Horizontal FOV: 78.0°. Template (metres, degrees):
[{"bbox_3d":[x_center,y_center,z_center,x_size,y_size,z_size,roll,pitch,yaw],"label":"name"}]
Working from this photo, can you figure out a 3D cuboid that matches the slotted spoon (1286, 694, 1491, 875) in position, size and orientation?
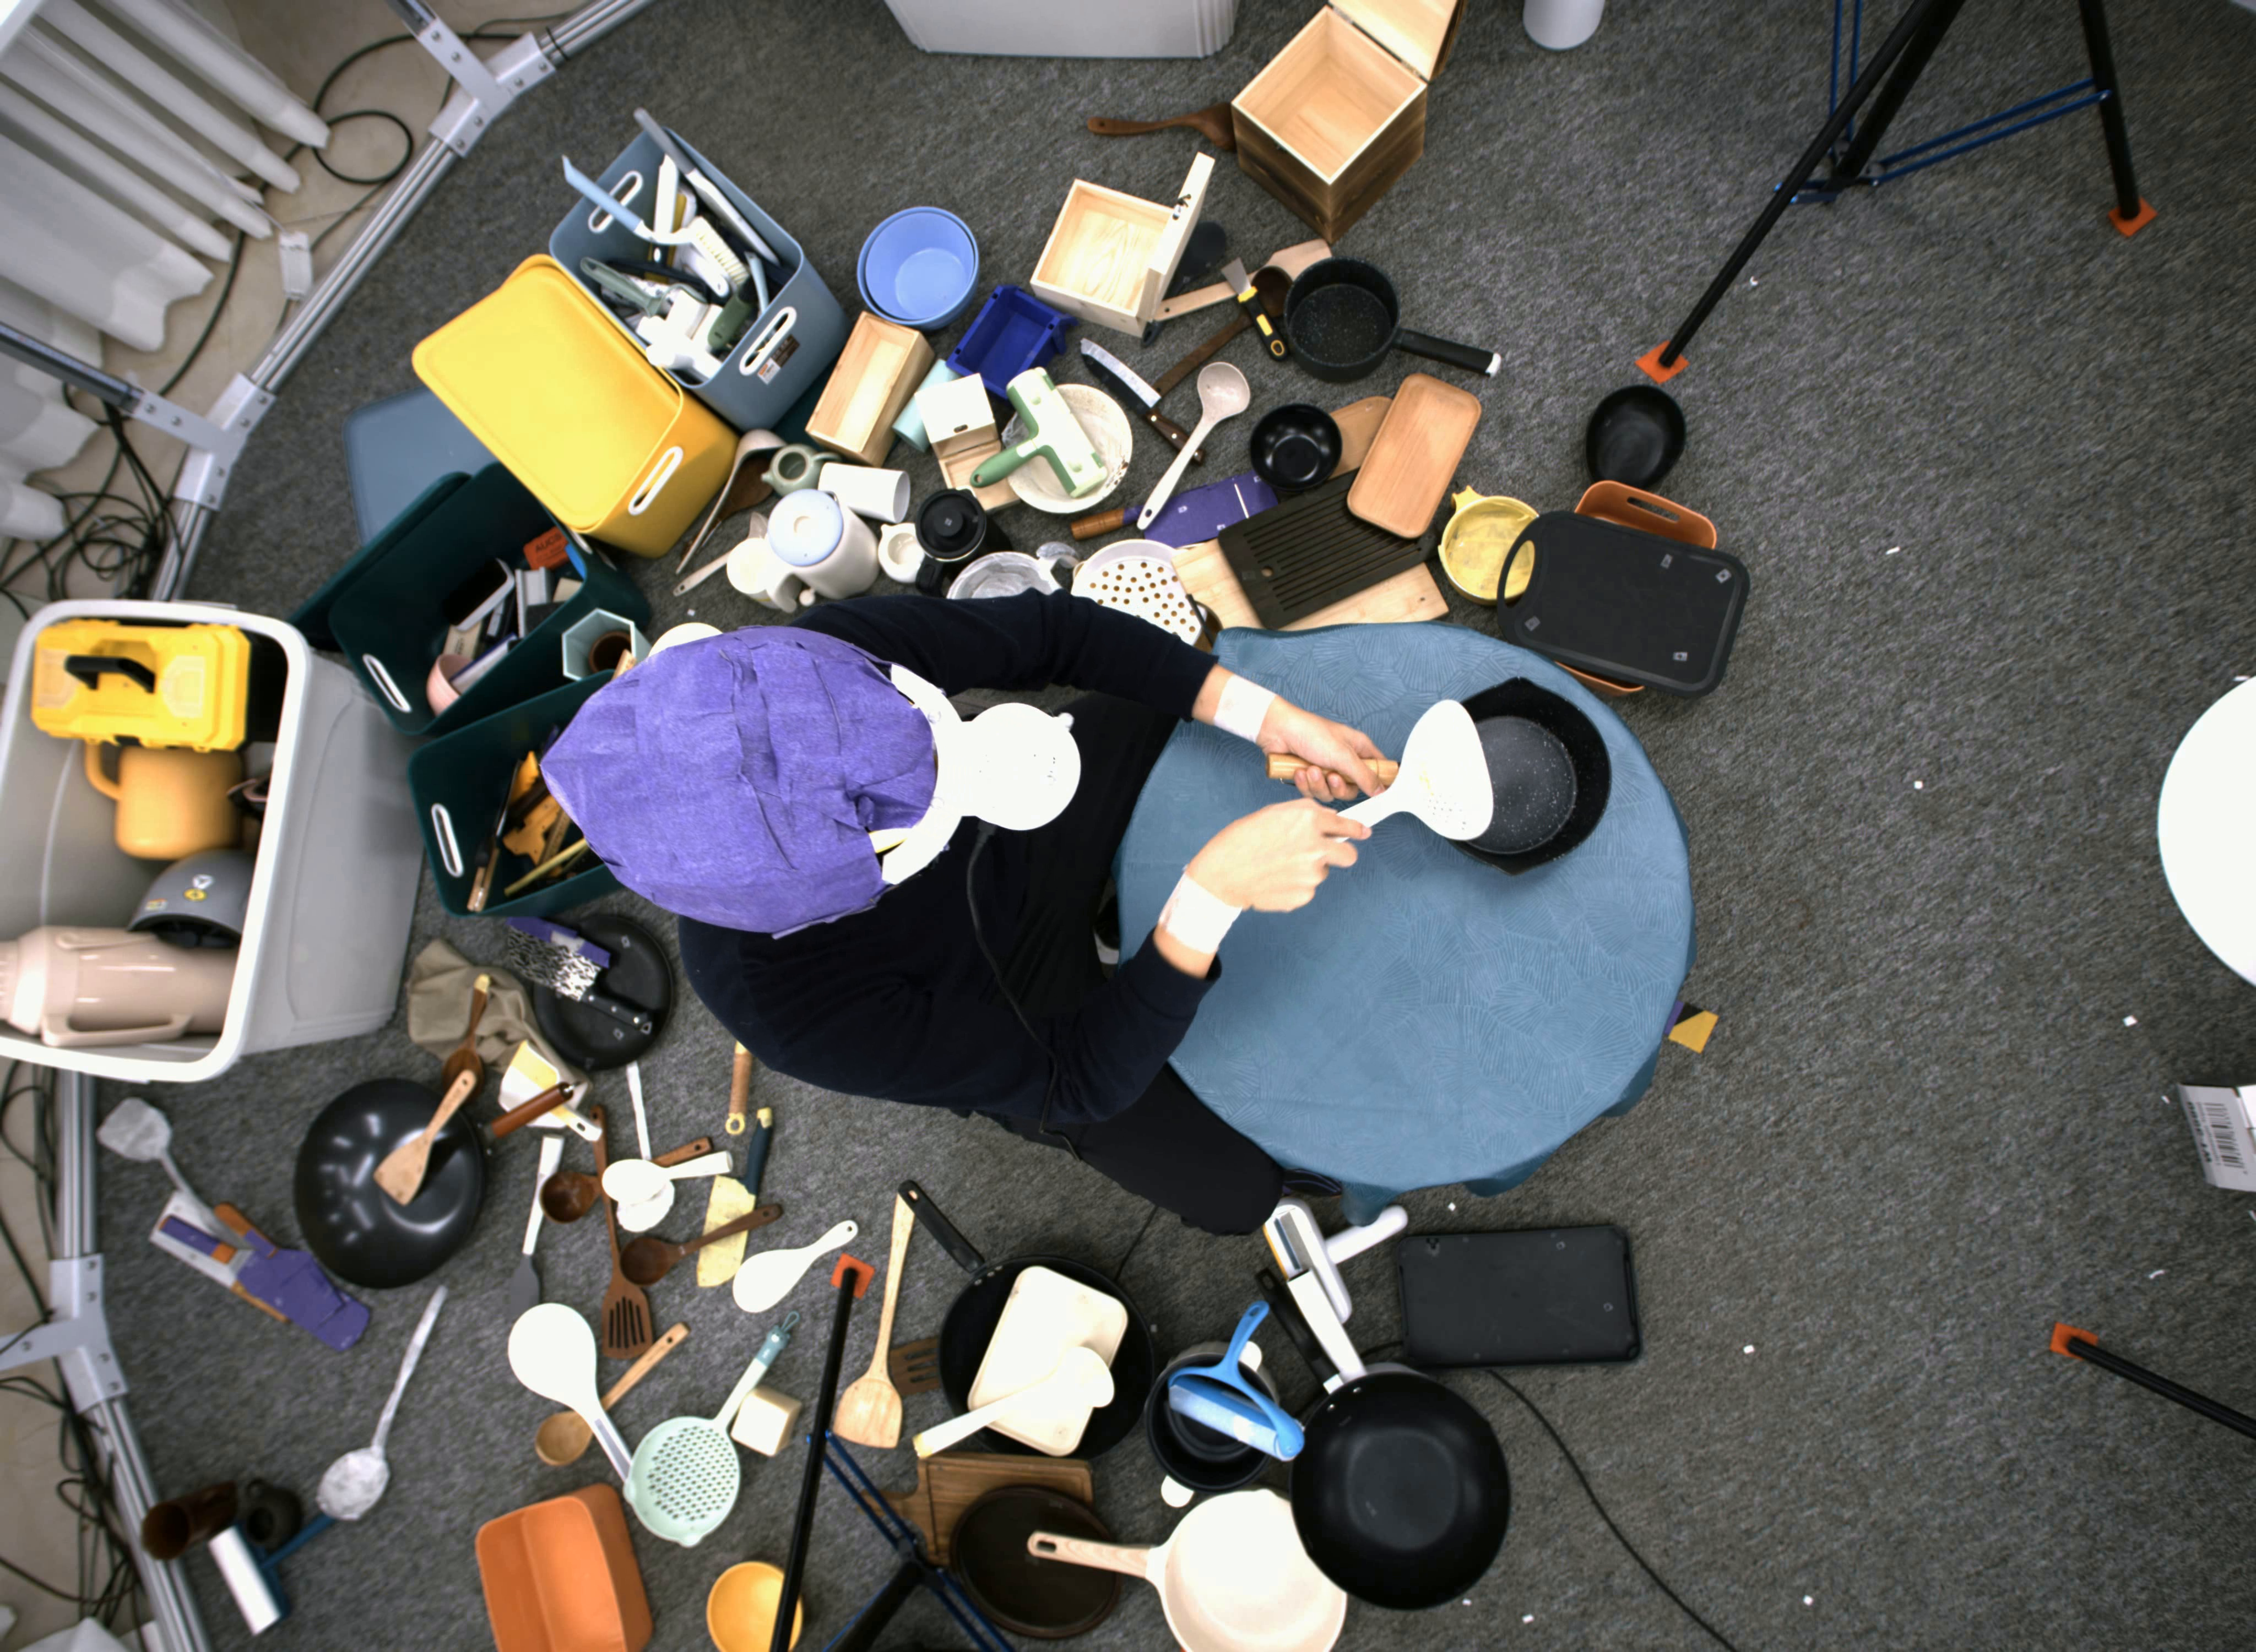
[{"bbox_3d":[0.242,-0.027,1.255,0.051,0.341,0.138,-9,102,37],"label":"slotted spoon"}]

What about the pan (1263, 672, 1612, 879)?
[{"bbox_3d":[0.310,-0.052,1.400,0.344,0.108,0.207,1,88,7],"label":"pan"}]
